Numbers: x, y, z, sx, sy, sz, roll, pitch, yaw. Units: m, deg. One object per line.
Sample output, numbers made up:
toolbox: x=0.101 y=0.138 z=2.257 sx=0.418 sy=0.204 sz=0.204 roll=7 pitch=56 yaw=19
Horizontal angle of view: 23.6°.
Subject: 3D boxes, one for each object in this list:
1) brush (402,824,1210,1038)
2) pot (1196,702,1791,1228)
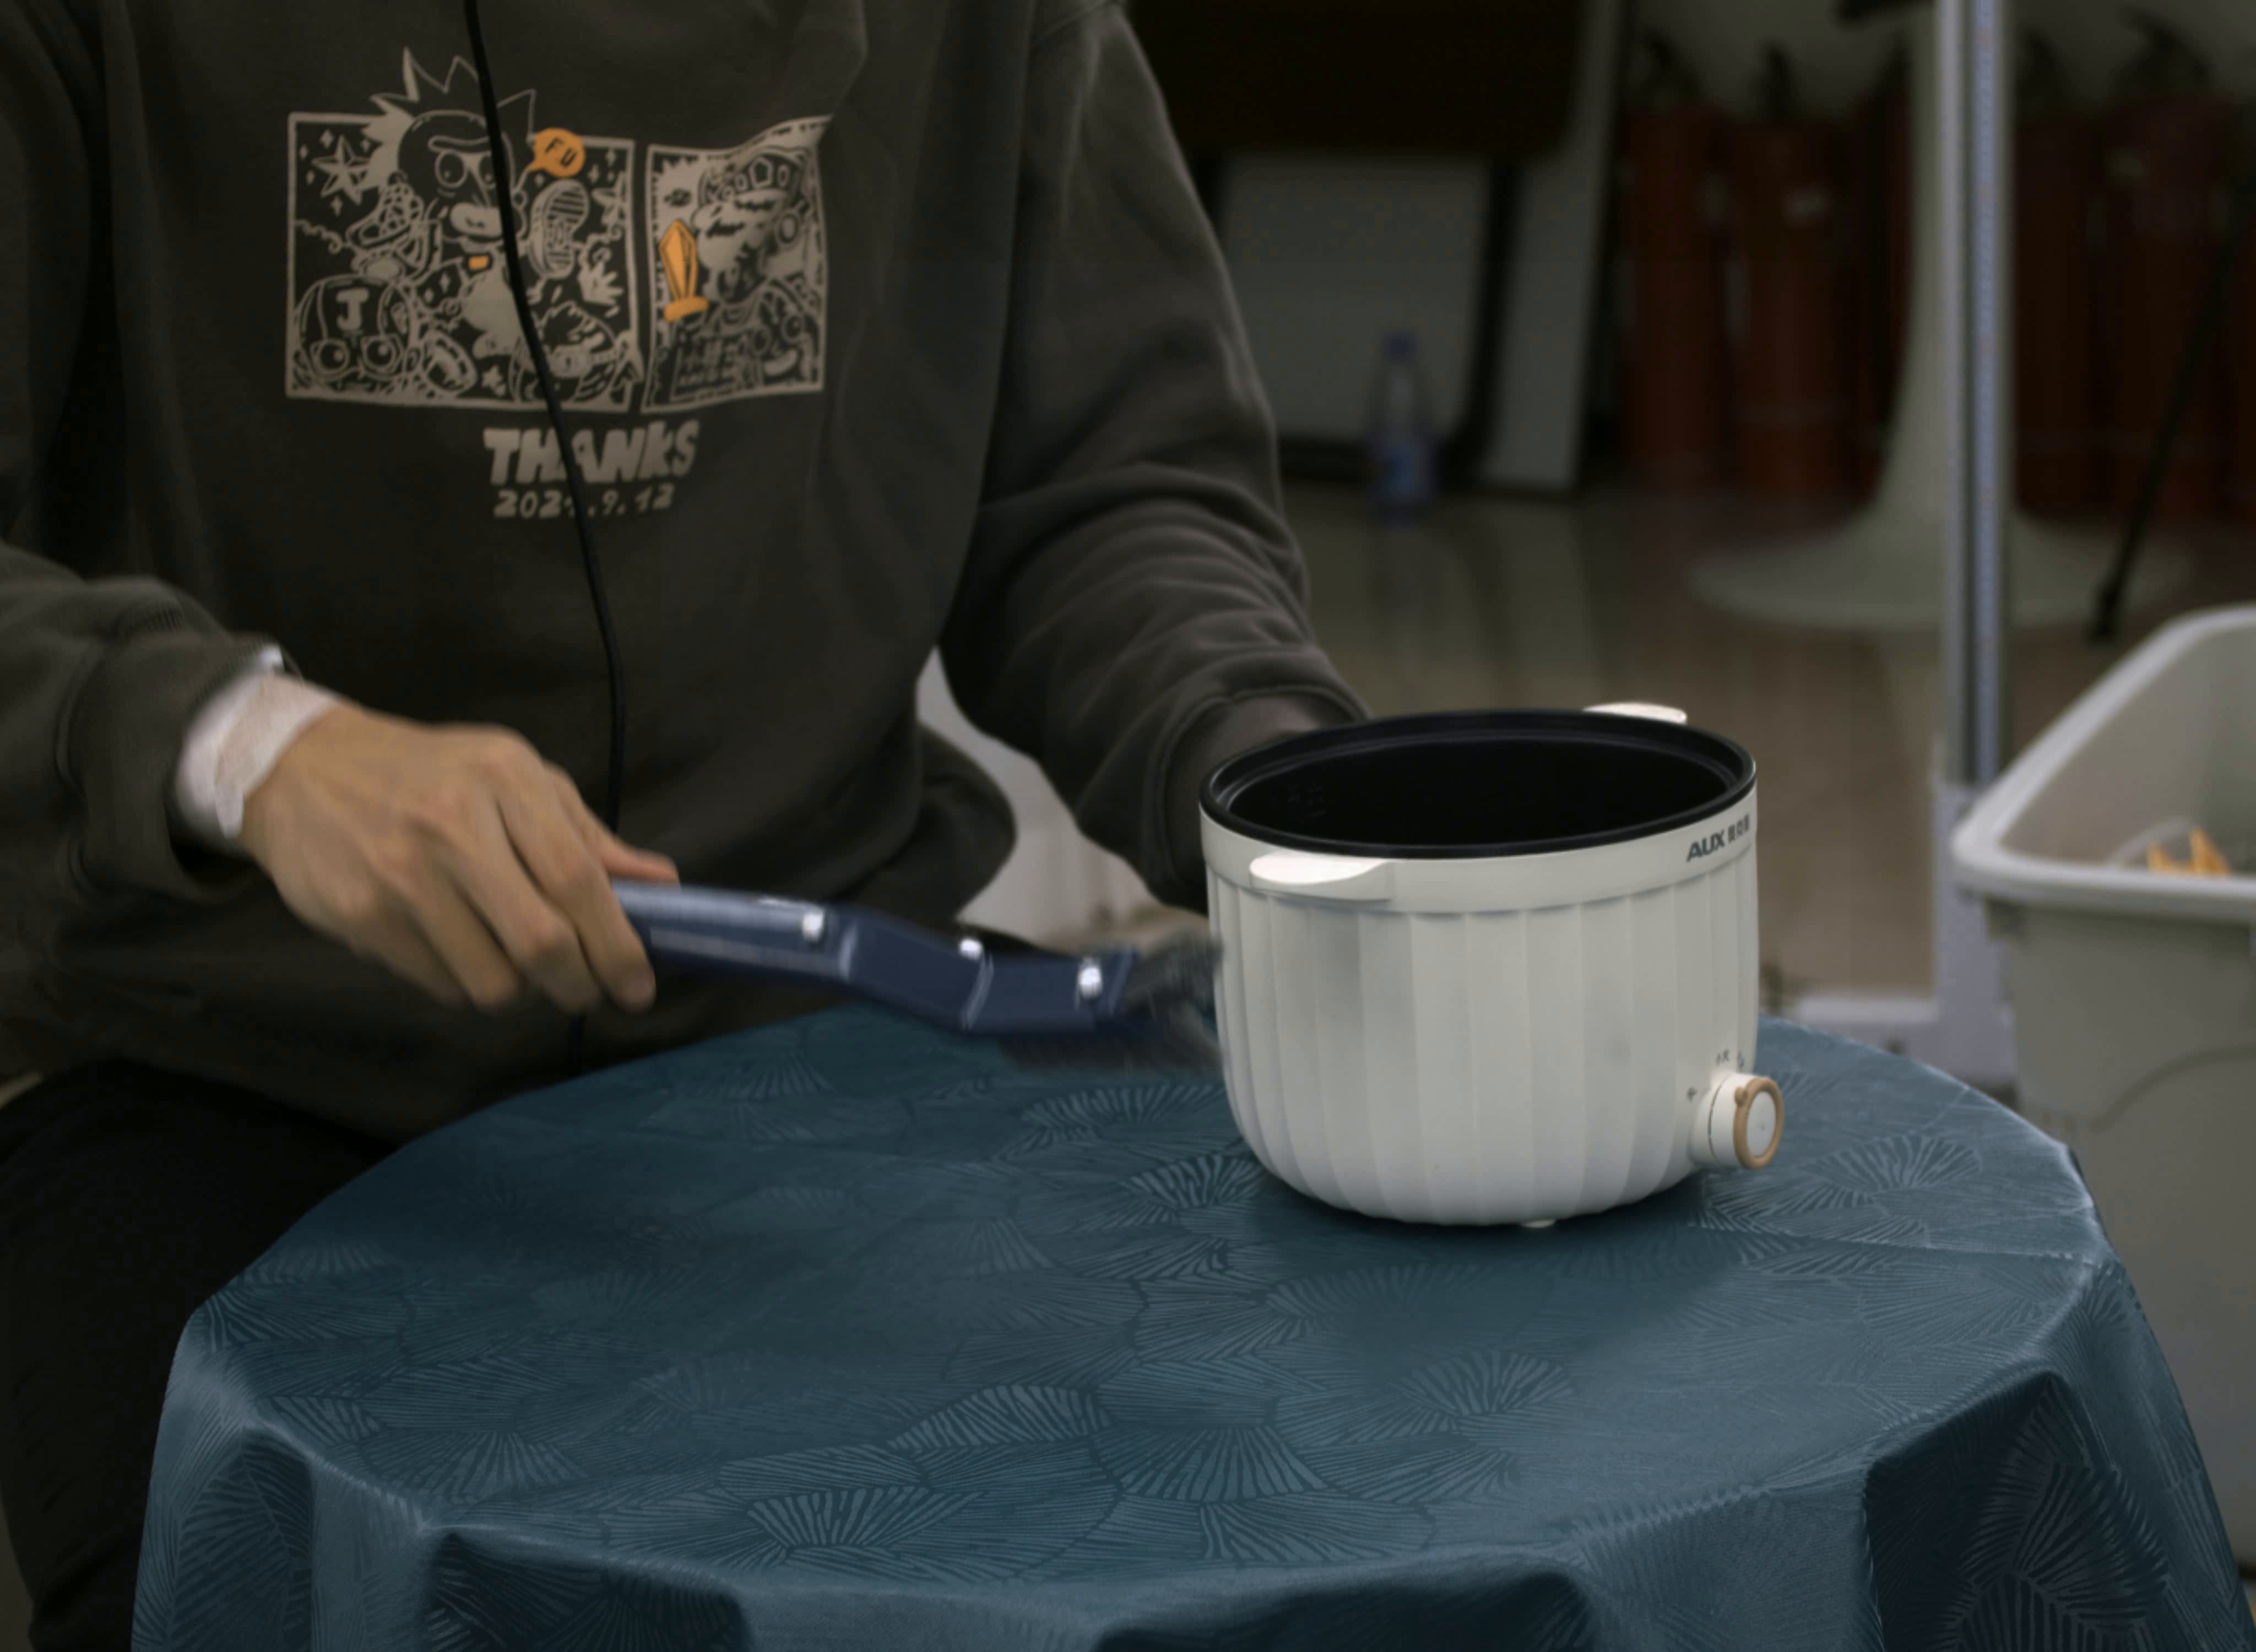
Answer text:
brush: x=-0.102 y=0.023 z=1.636 sx=0.273 sy=0.033 sz=0.095 roll=11 pitch=-28 yaw=18
pot: x=0.122 y=0.048 z=1.747 sx=0.191 sy=0.144 sz=0.236 roll=1 pitch=15 yaw=35
